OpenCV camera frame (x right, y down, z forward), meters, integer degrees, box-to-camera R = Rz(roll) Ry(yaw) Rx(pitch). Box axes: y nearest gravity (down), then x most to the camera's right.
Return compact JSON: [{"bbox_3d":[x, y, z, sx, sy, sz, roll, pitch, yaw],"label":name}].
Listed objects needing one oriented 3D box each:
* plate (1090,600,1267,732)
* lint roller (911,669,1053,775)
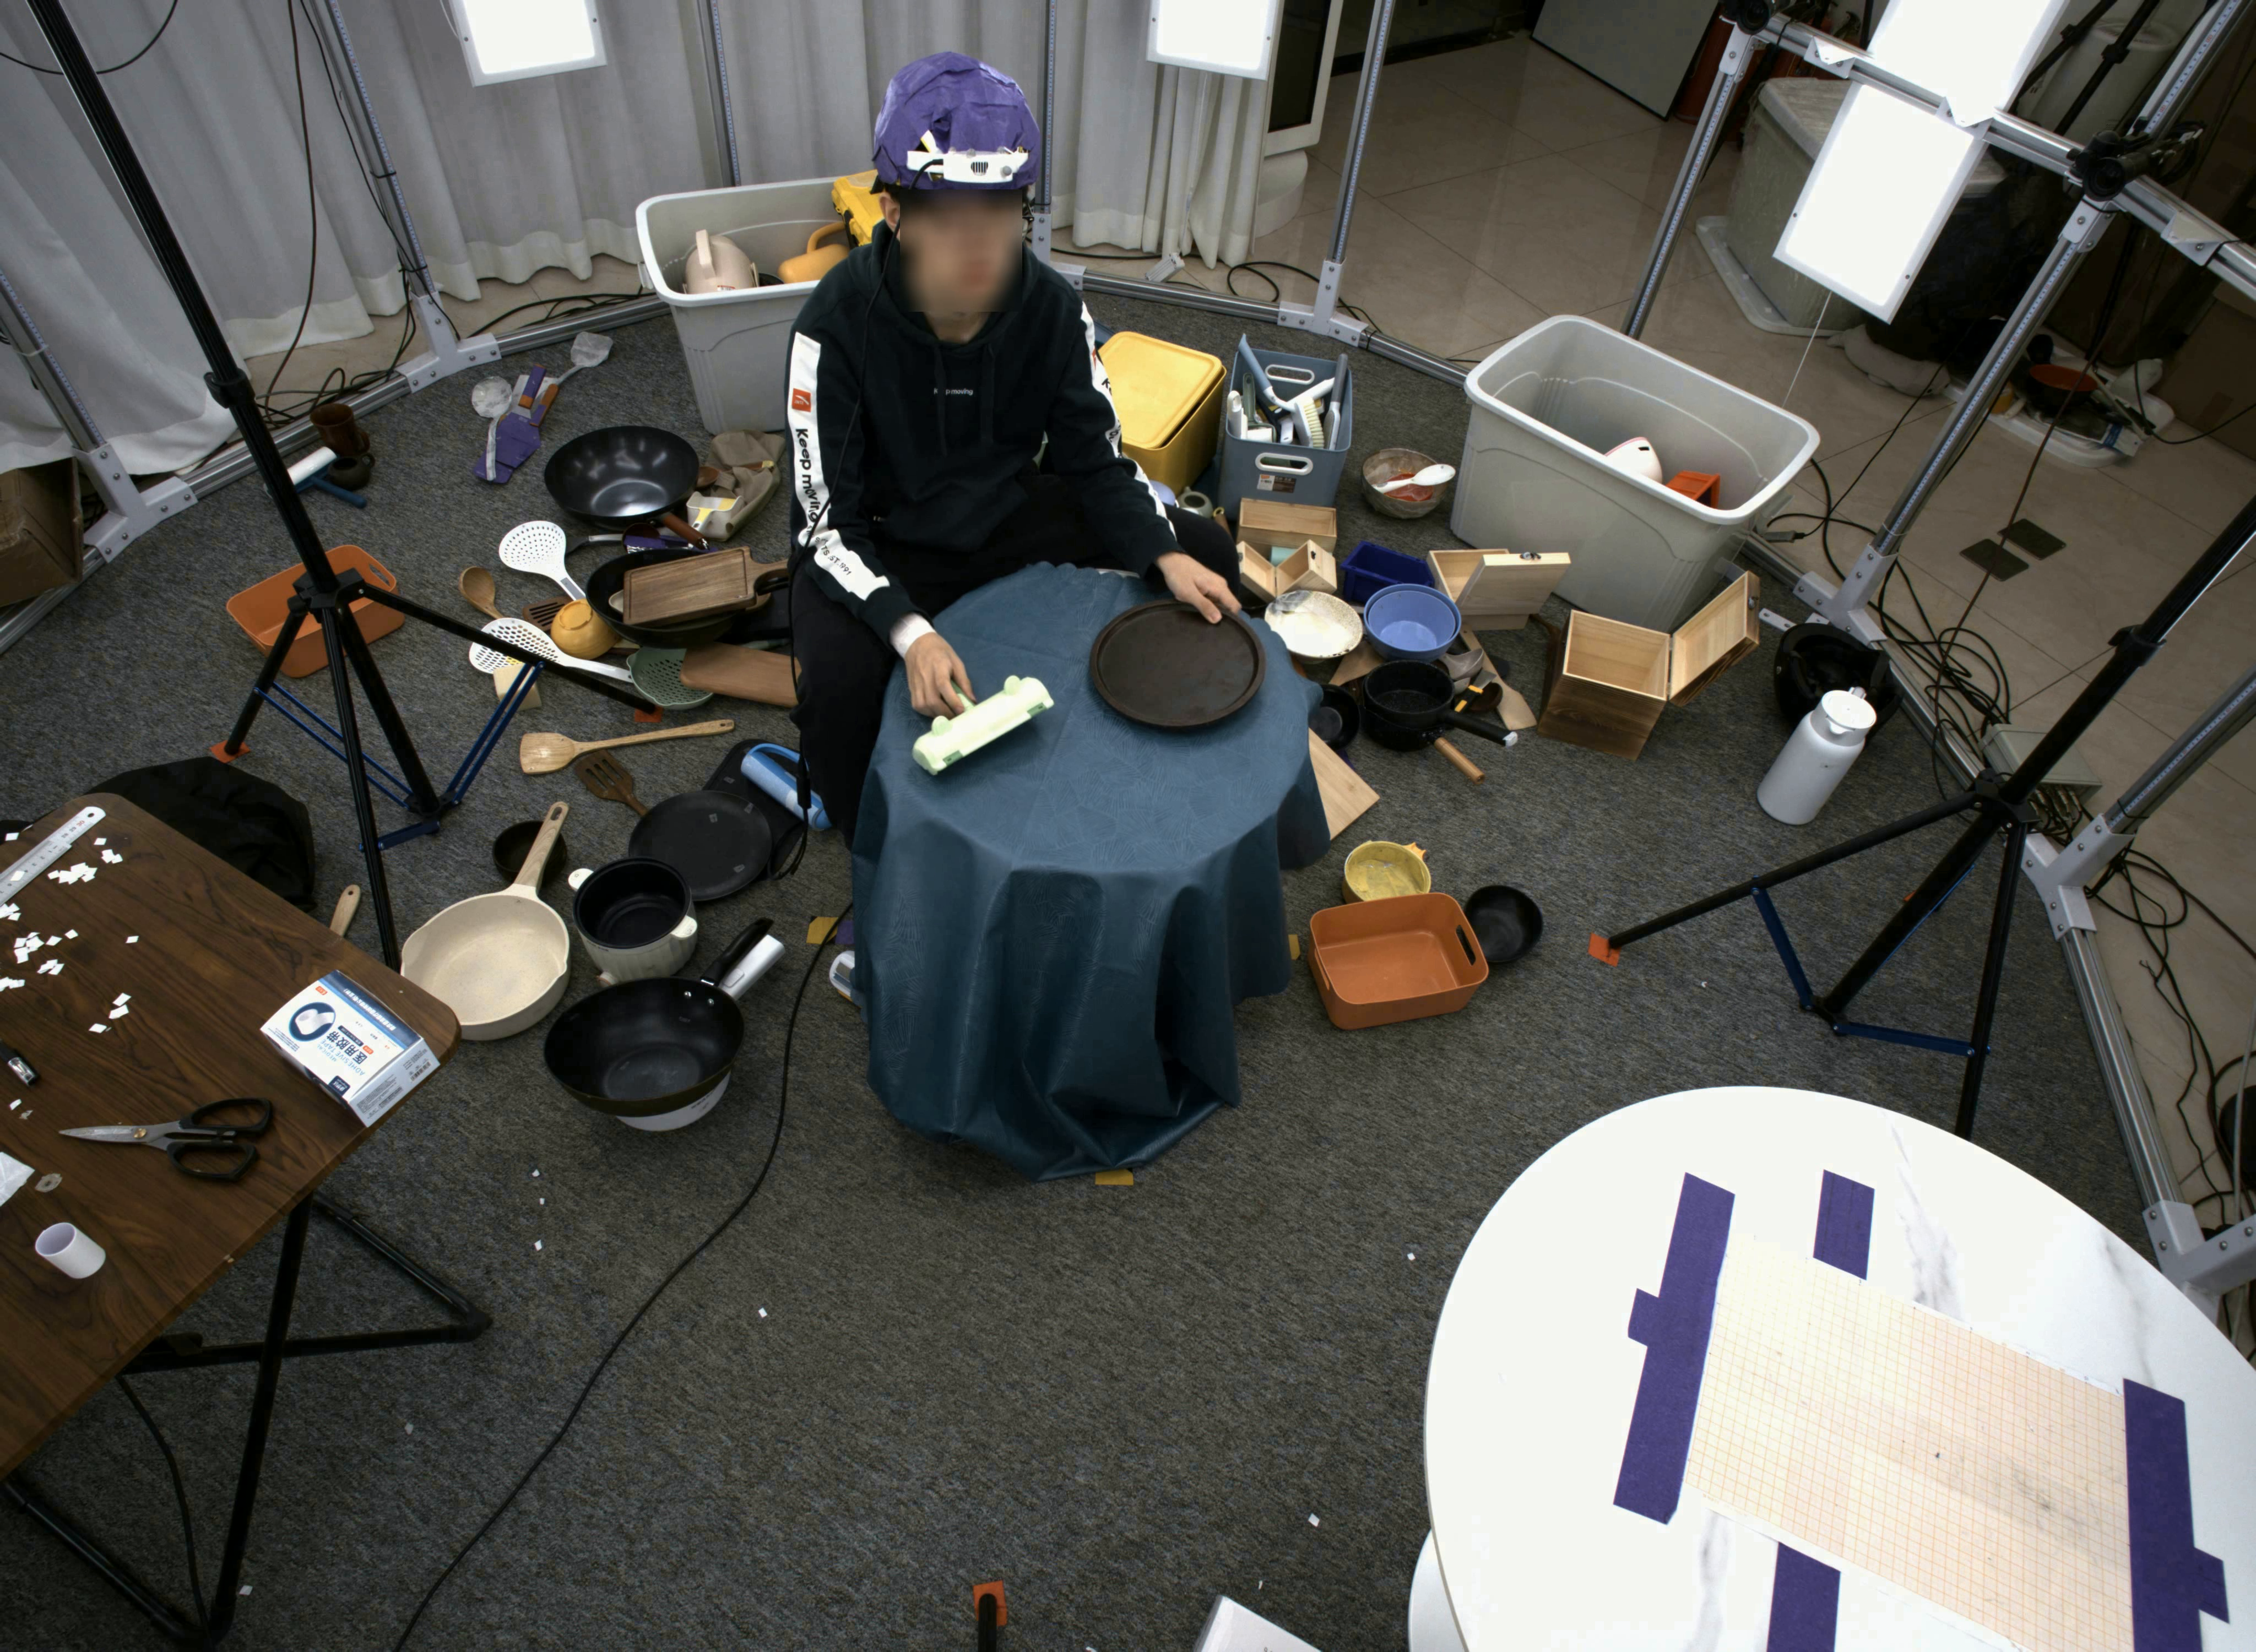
[{"bbox_3d":[0.071,-0.232,1.845,0.255,0.028,0.261,-2,53,2],"label":"plate"},{"bbox_3d":[-0.230,-0.175,1.746,0.200,0.080,0.186,-32,59,-21],"label":"lint roller"}]
